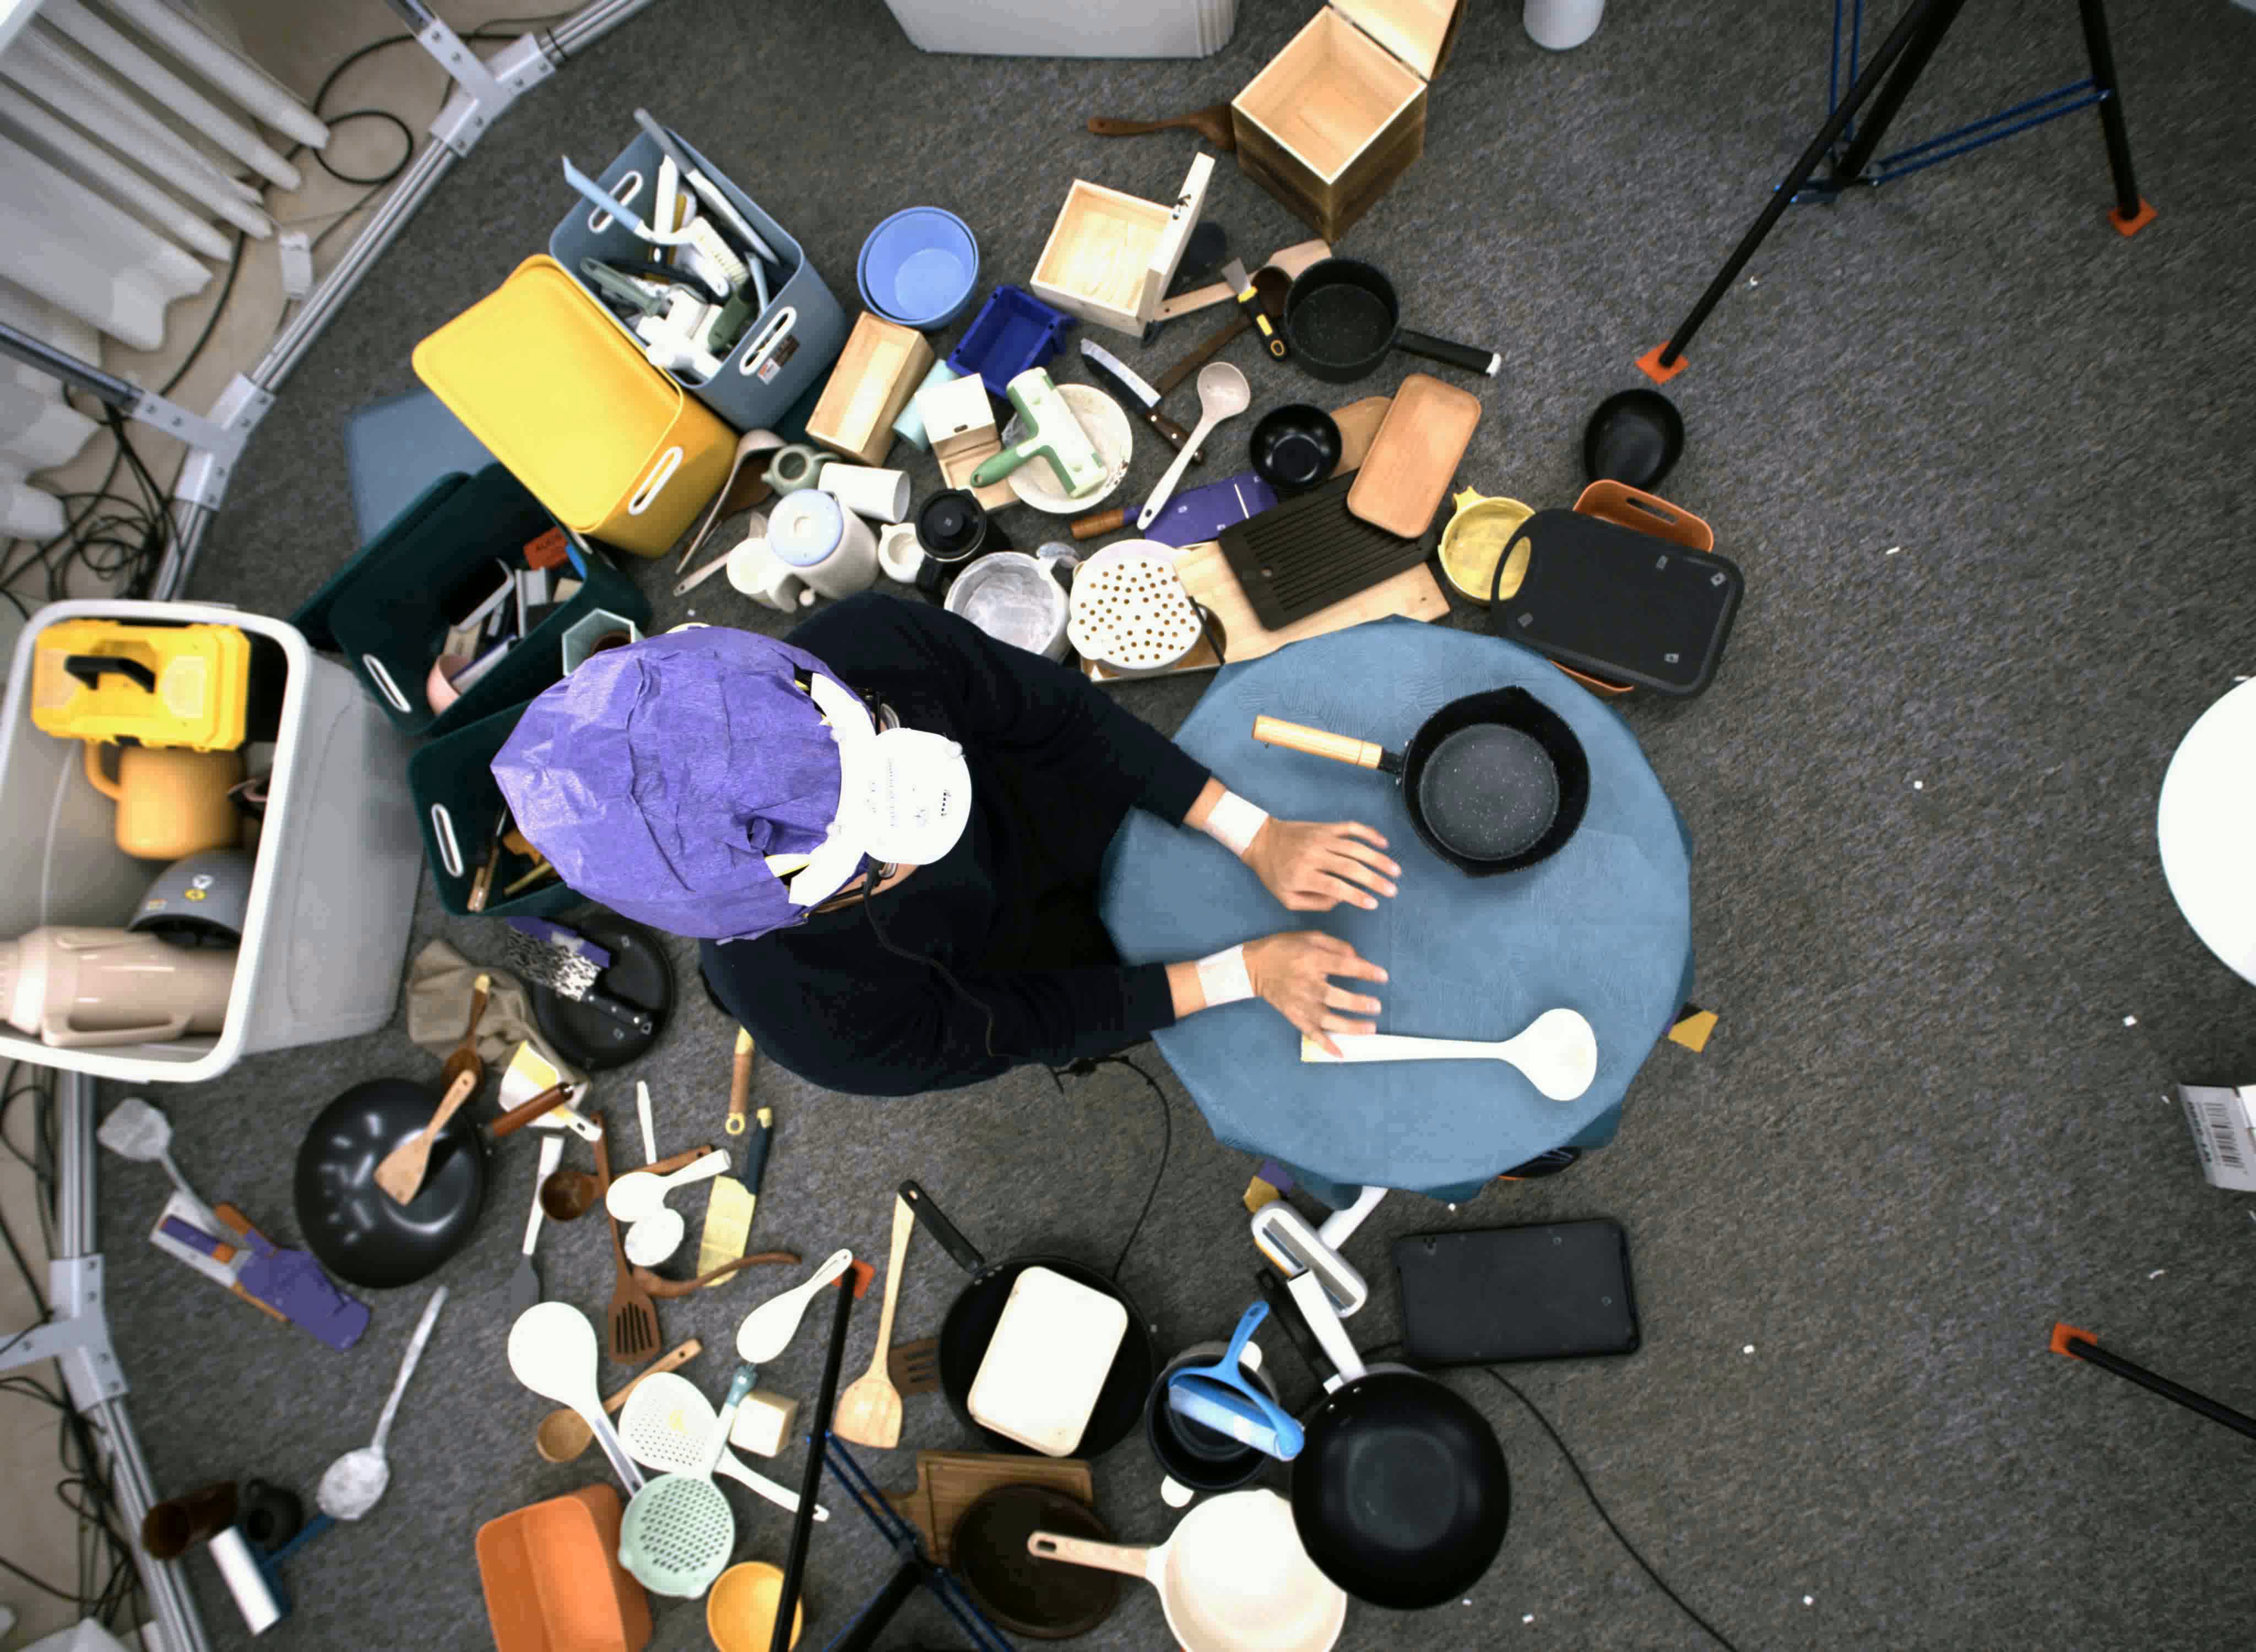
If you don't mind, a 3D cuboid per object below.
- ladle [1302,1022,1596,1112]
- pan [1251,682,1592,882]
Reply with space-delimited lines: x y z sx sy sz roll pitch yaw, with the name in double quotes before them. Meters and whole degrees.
"ladle" 0.322 0.234 1.409 0.294 0.069 0.090 2 93 12
"pan" 0.294 -0.059 1.408 0.343 0.108 0.207 12 90 10
